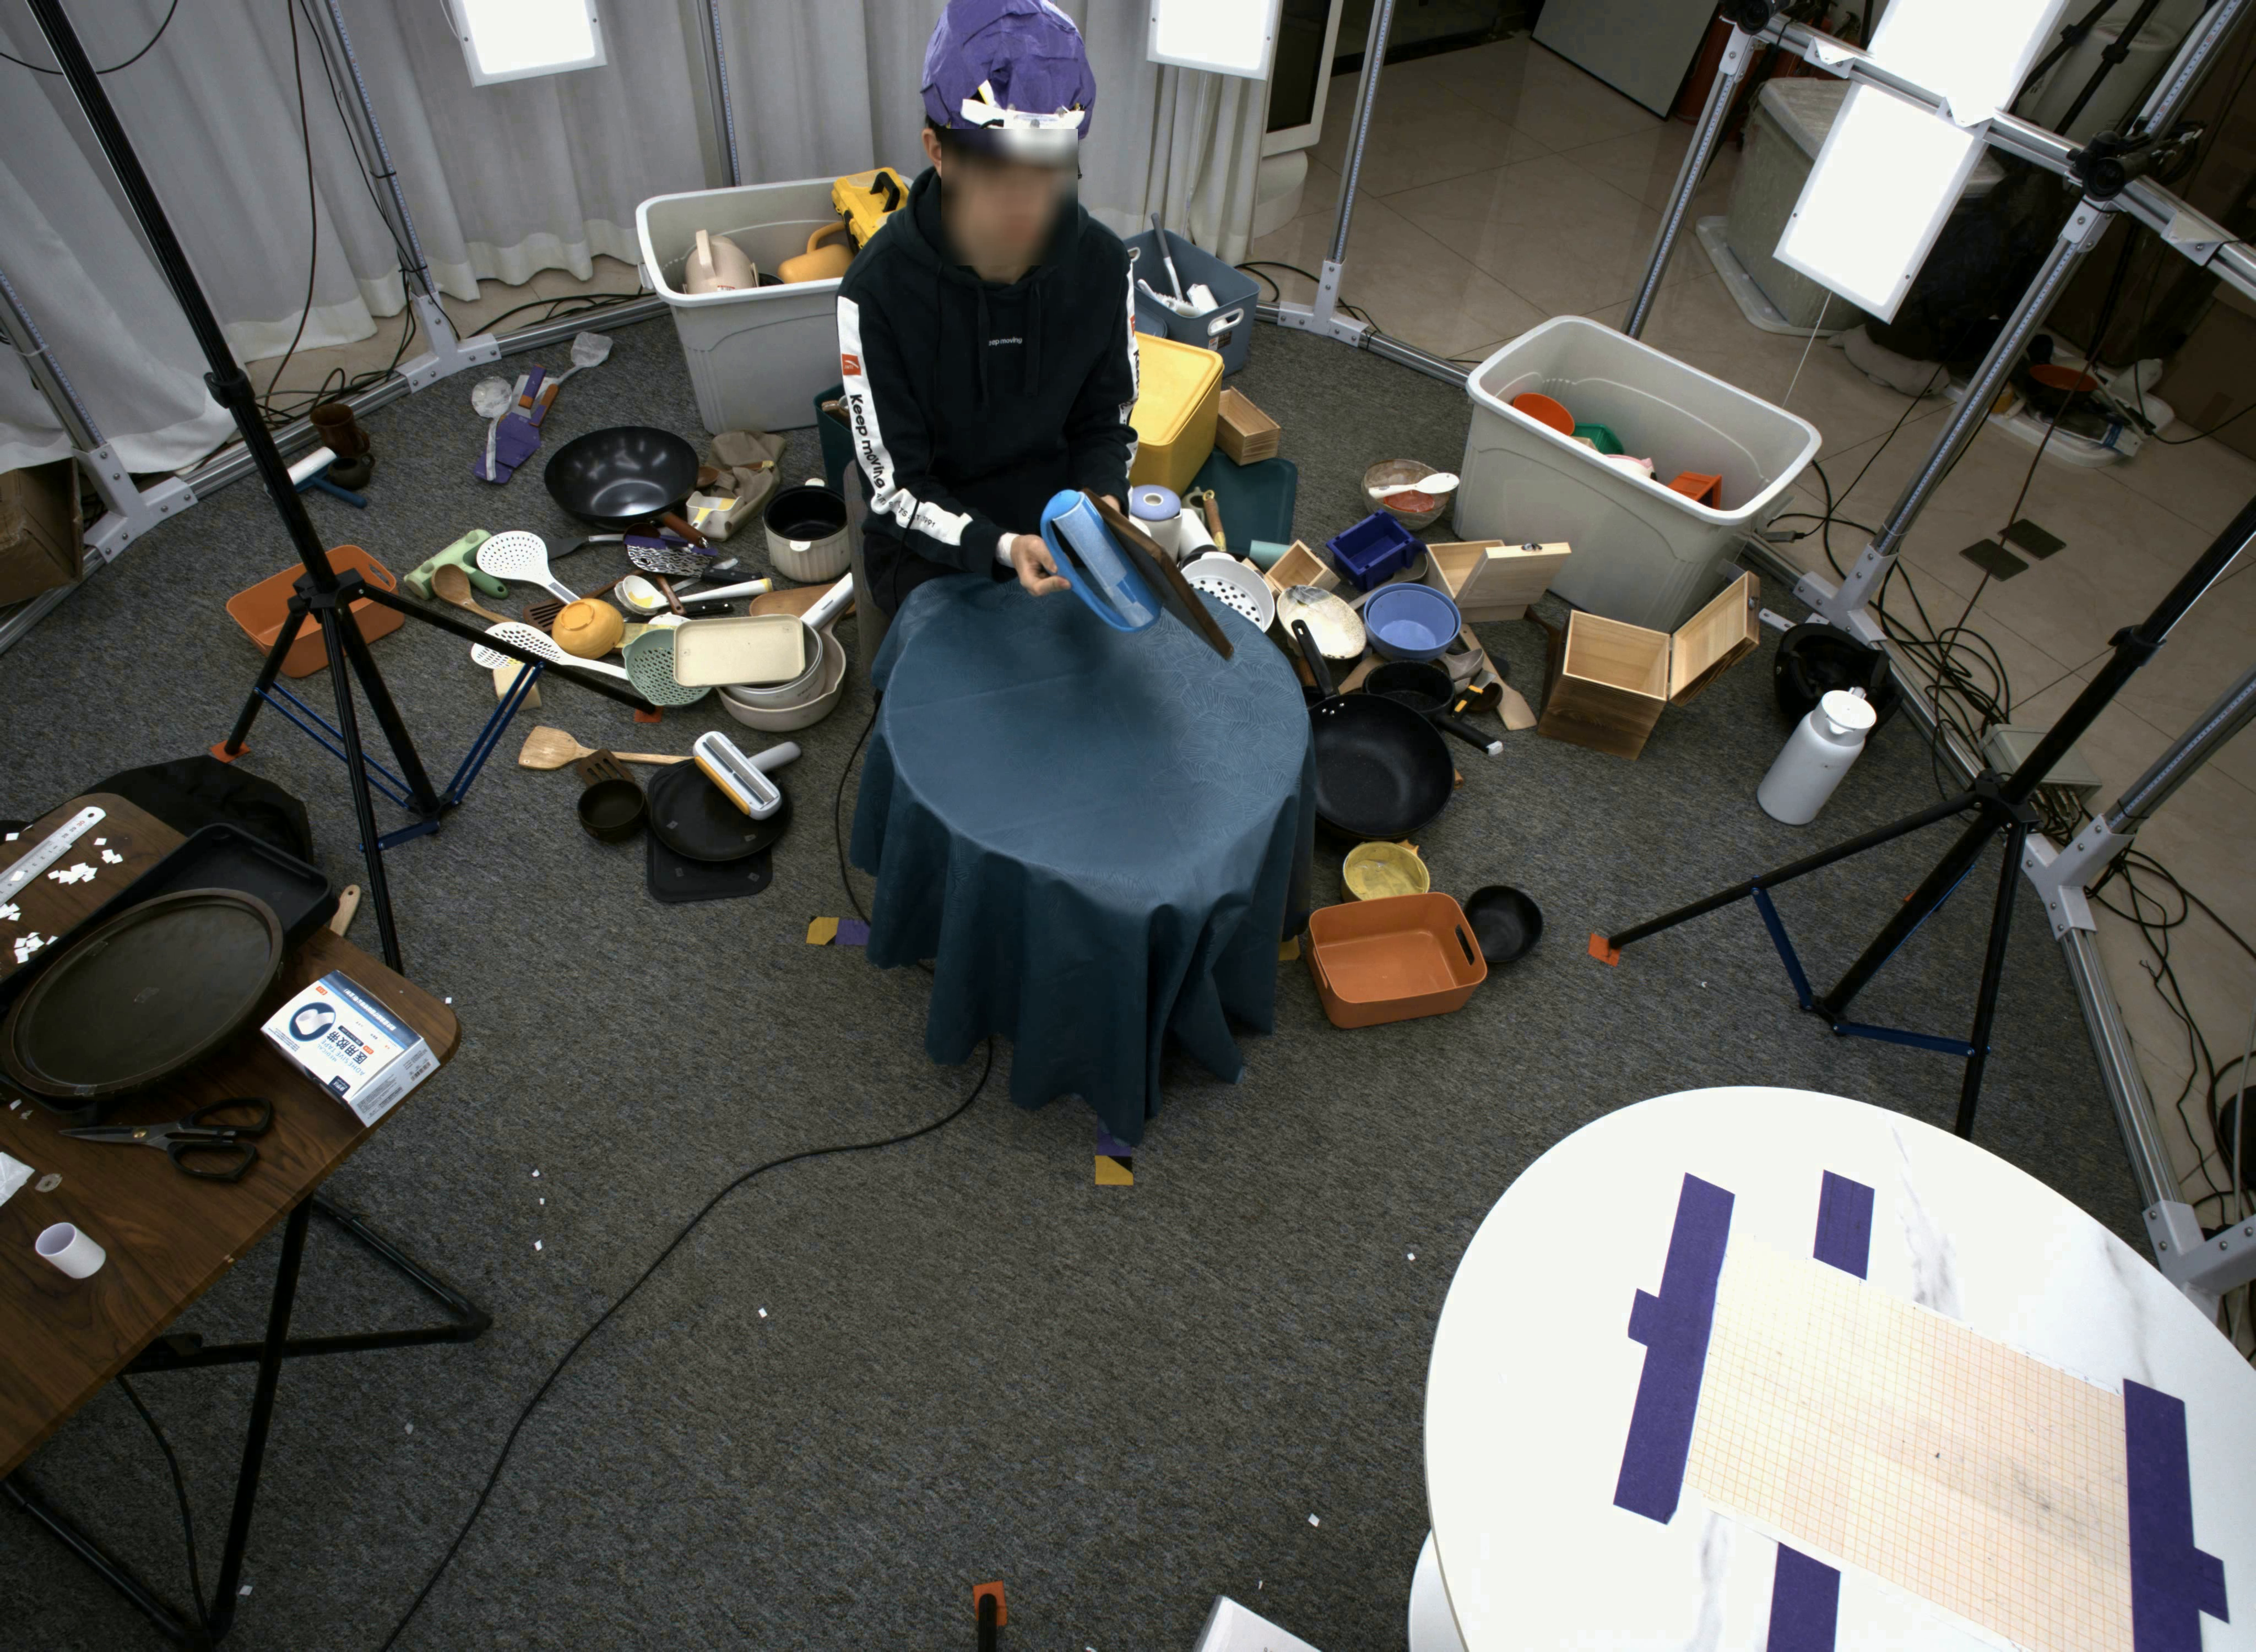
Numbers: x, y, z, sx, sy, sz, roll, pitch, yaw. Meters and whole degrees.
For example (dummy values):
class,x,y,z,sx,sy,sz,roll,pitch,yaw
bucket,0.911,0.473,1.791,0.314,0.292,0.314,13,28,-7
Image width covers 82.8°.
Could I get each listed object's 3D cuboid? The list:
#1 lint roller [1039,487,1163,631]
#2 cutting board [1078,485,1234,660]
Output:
class,x,y,z,sx,sy,sz,roll,pitch,yaw
lint roller,-0.065,-0.353,1.742,0.181,0.225,0.069,2,52,51
cutting board,0.015,-0.361,1.736,0.023,0.197,0.360,-40,40,1
